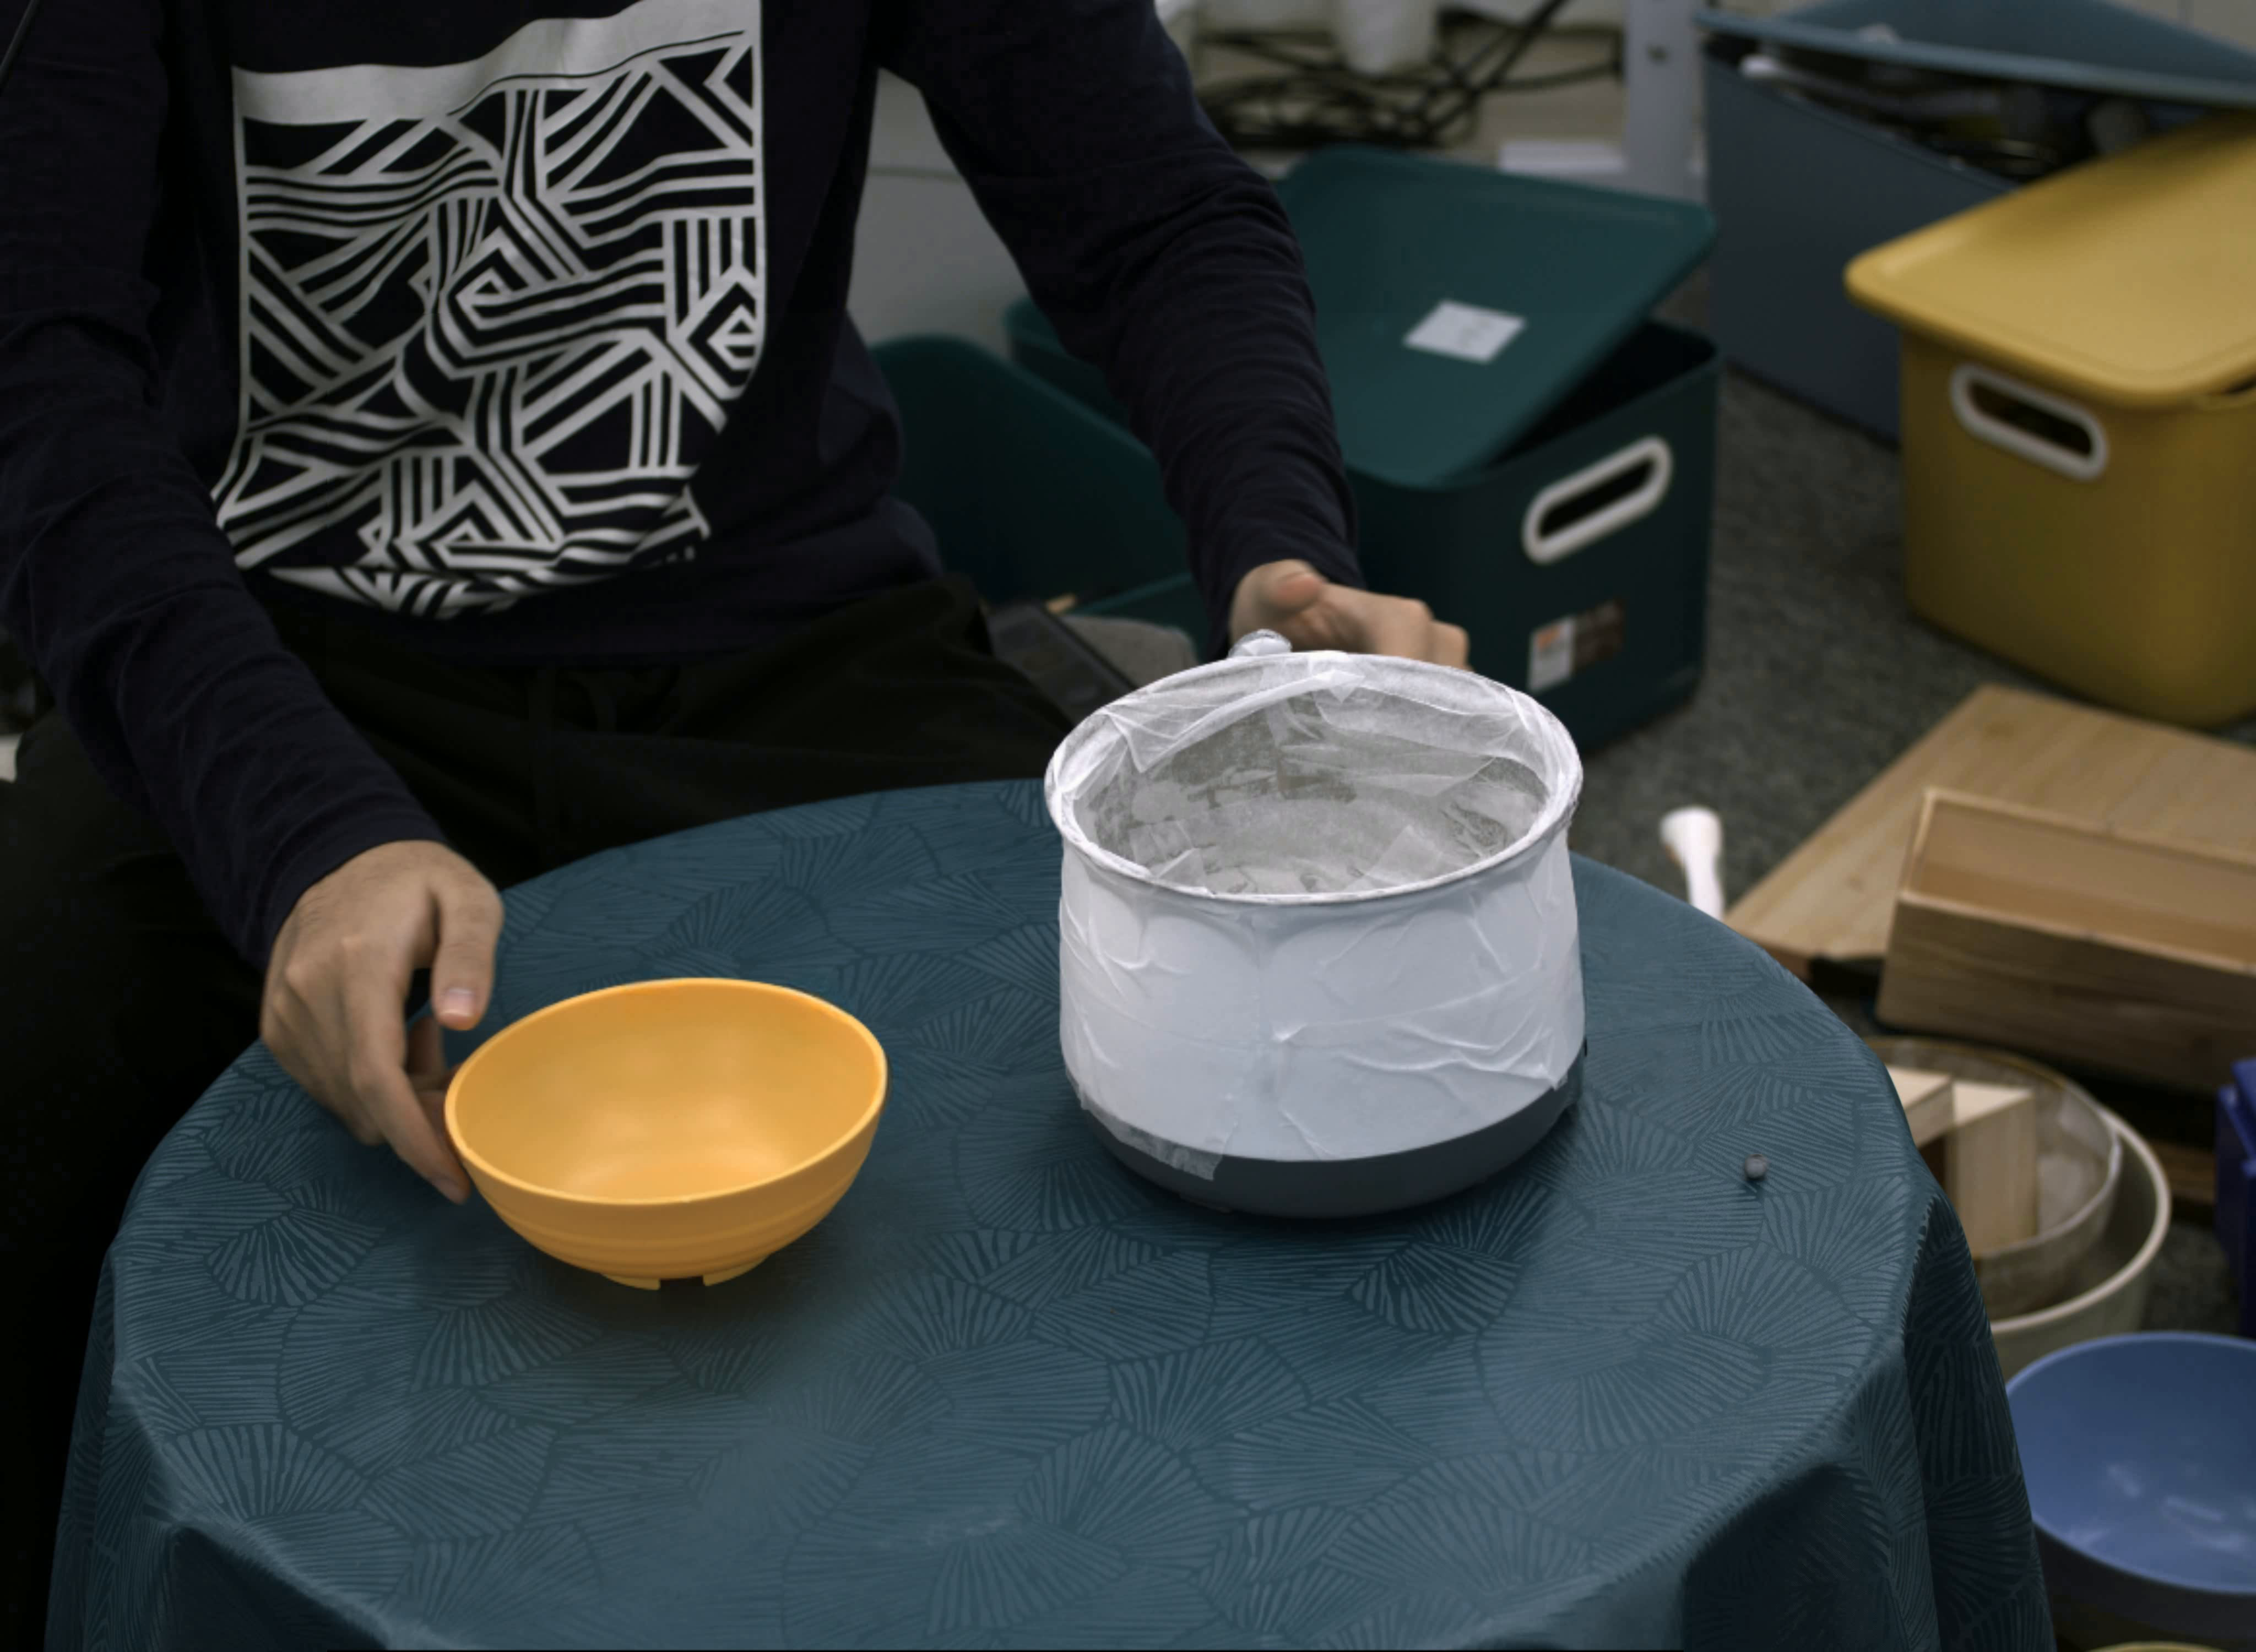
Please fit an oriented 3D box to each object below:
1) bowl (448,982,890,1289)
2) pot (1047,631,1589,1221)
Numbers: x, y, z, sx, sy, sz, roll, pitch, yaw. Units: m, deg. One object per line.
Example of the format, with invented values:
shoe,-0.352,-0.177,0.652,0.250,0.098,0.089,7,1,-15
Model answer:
bowl,-0.146,0.110,1.832,0.144,0.059,0.147,-4,25,2
pot,0.060,0.026,1.896,0.178,0.135,0.236,-6,26,-7
